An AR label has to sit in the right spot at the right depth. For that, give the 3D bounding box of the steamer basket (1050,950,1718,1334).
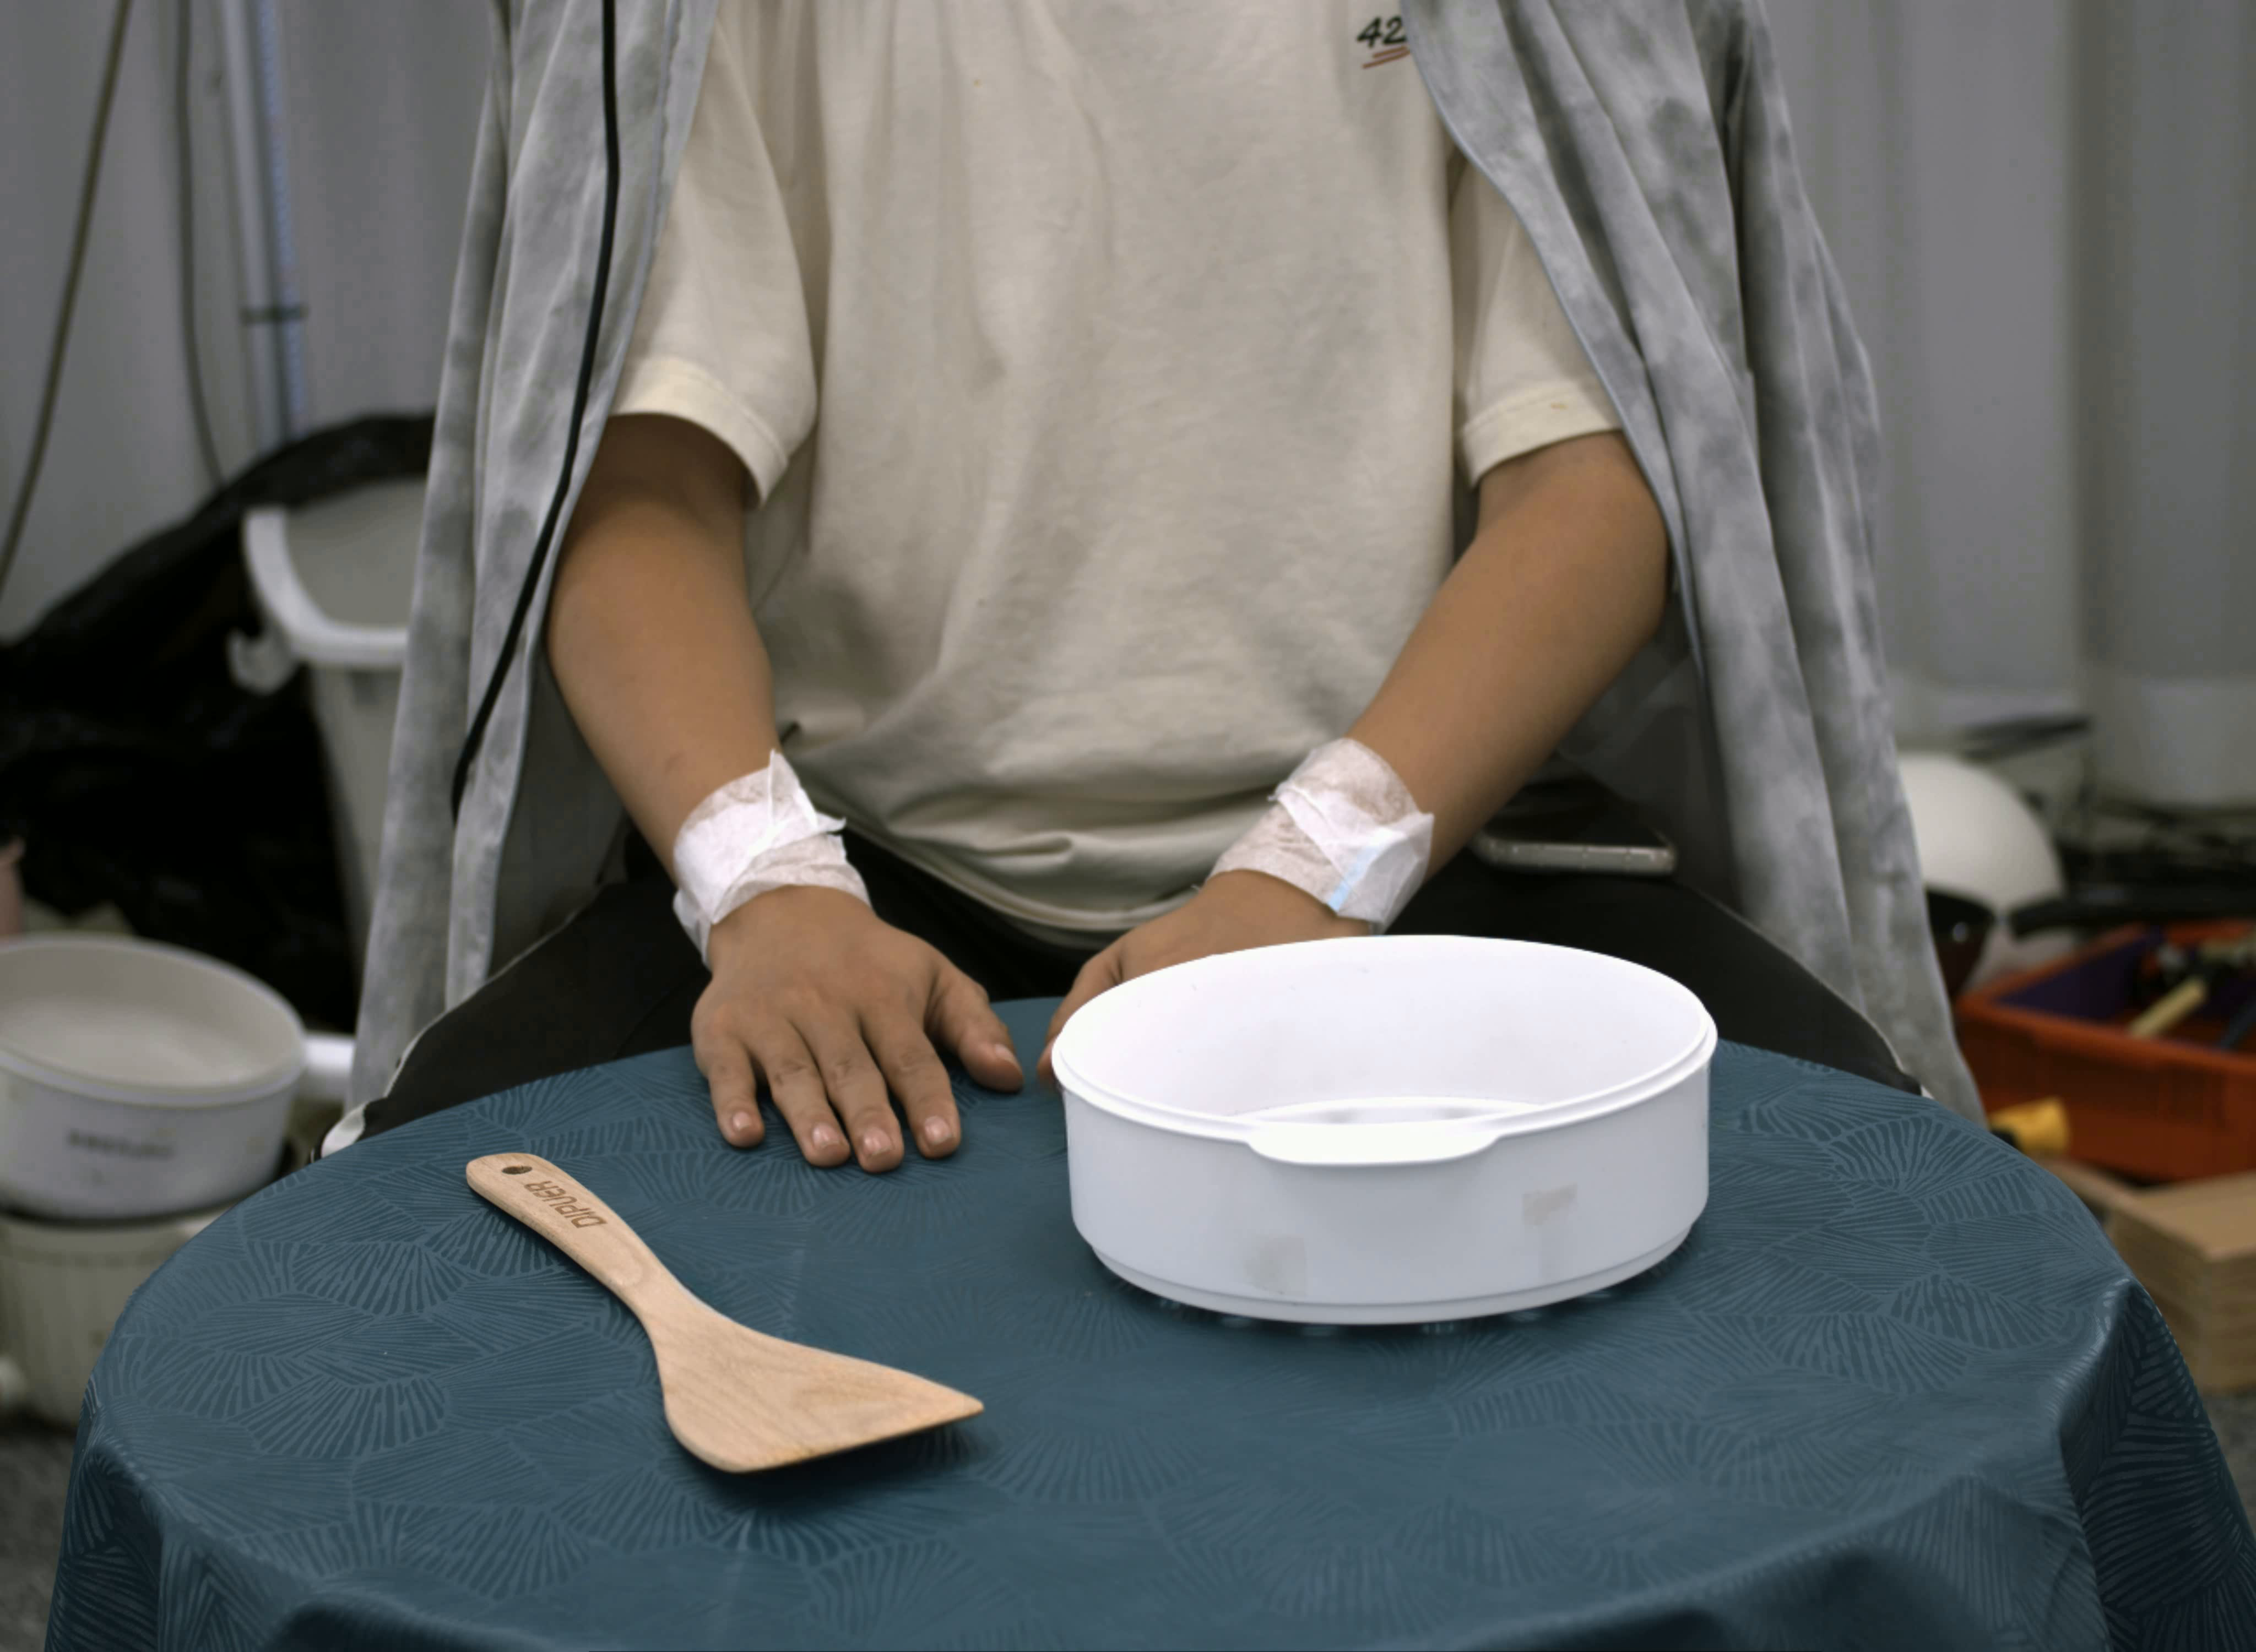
[{"bbox_3d":[0.077,0.095,1.653,0.201,0.069,0.232,0,14,5],"label":"steamer basket"}]

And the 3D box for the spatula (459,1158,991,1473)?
[{"bbox_3d":[-0.135,0.140,1.618,0.079,0.016,0.330,-9,16,-24],"label":"spatula"}]
